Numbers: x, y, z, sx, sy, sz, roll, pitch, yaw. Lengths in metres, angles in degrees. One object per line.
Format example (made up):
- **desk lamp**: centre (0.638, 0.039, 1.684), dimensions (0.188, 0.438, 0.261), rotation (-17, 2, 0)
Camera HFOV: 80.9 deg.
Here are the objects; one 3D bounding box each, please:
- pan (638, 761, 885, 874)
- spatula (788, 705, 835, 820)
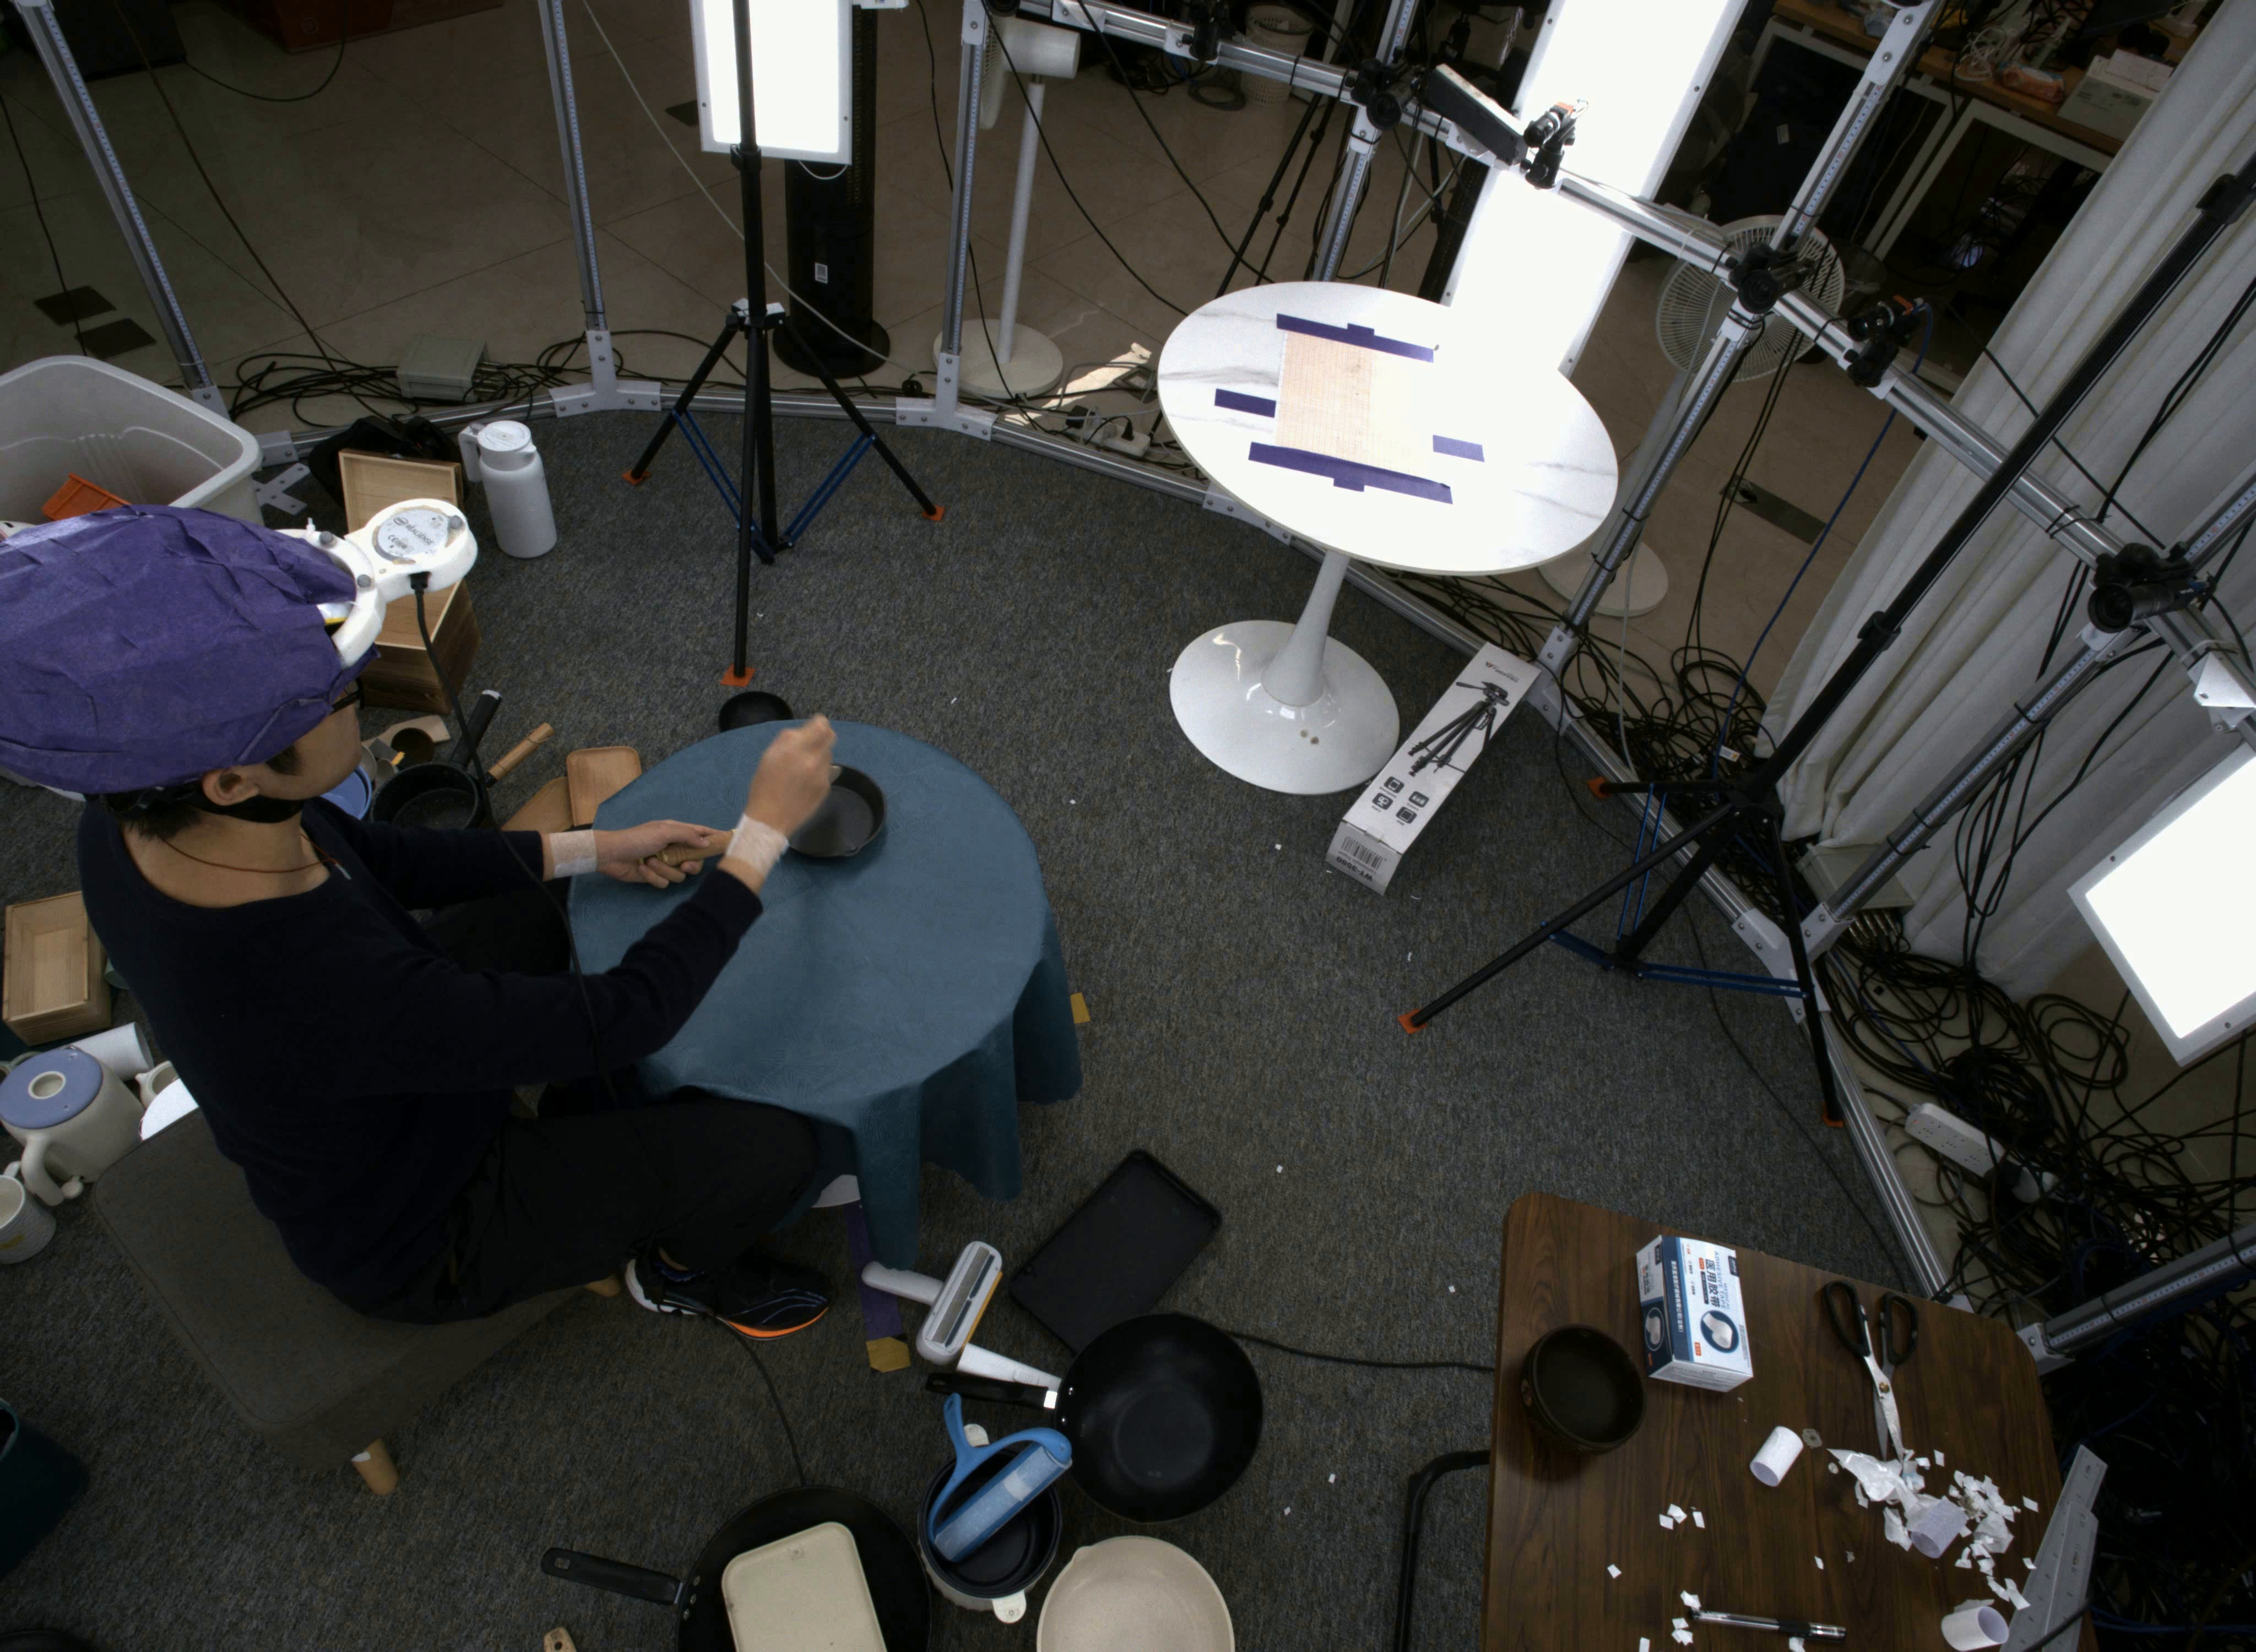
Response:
- **pan**: centre (-0.470, 0.005, 1.666), dimensions (0.326, 0.050, 0.165), rotation (-19, 60, -28)
- **spatula**: centre (-0.386, -0.078, 1.552), dimensions (0.016, 0.329, 0.080), rotation (36, 72, 3)
